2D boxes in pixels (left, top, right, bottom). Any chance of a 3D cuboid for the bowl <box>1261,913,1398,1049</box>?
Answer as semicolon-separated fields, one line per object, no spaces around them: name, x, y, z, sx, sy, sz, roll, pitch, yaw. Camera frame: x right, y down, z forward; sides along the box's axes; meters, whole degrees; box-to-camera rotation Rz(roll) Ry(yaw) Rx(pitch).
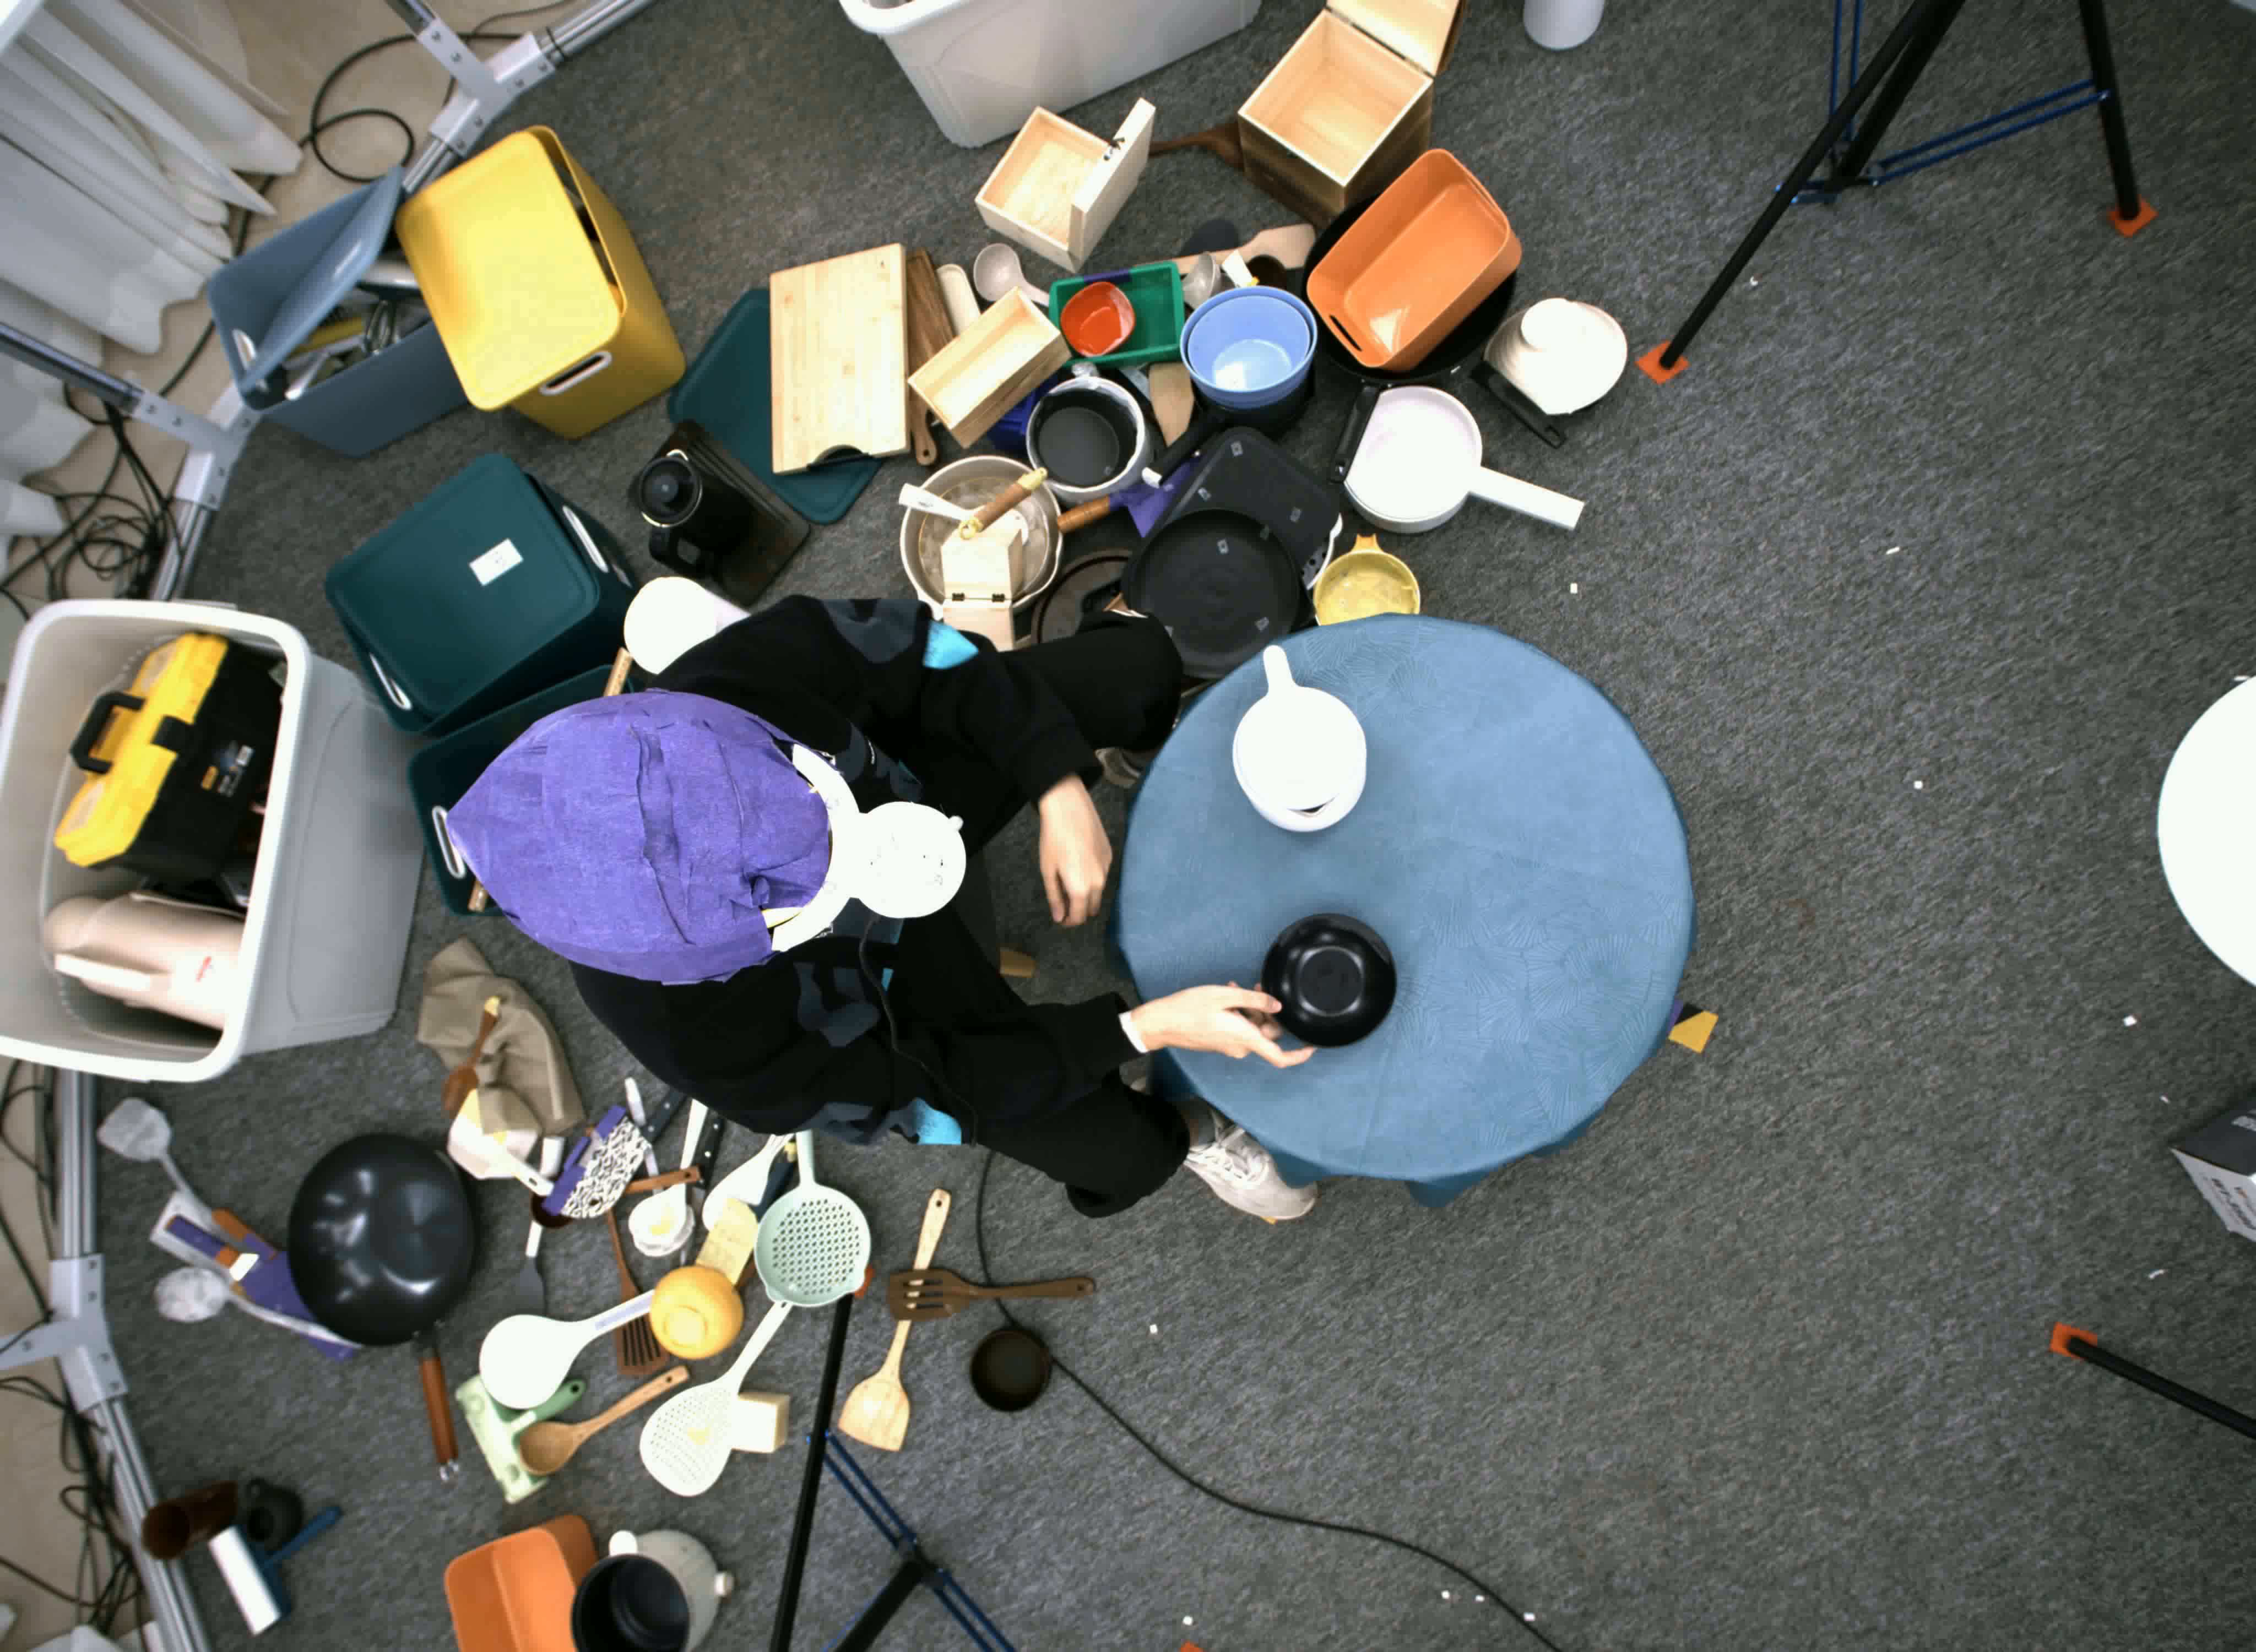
bowl;0.209;0.159;1.438;0.140;0.050;0.139;-1;87;13

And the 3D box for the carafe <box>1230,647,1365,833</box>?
carafe;0.167;-0.090;1.396;0.133;0.183;0.189;-16;81;7
